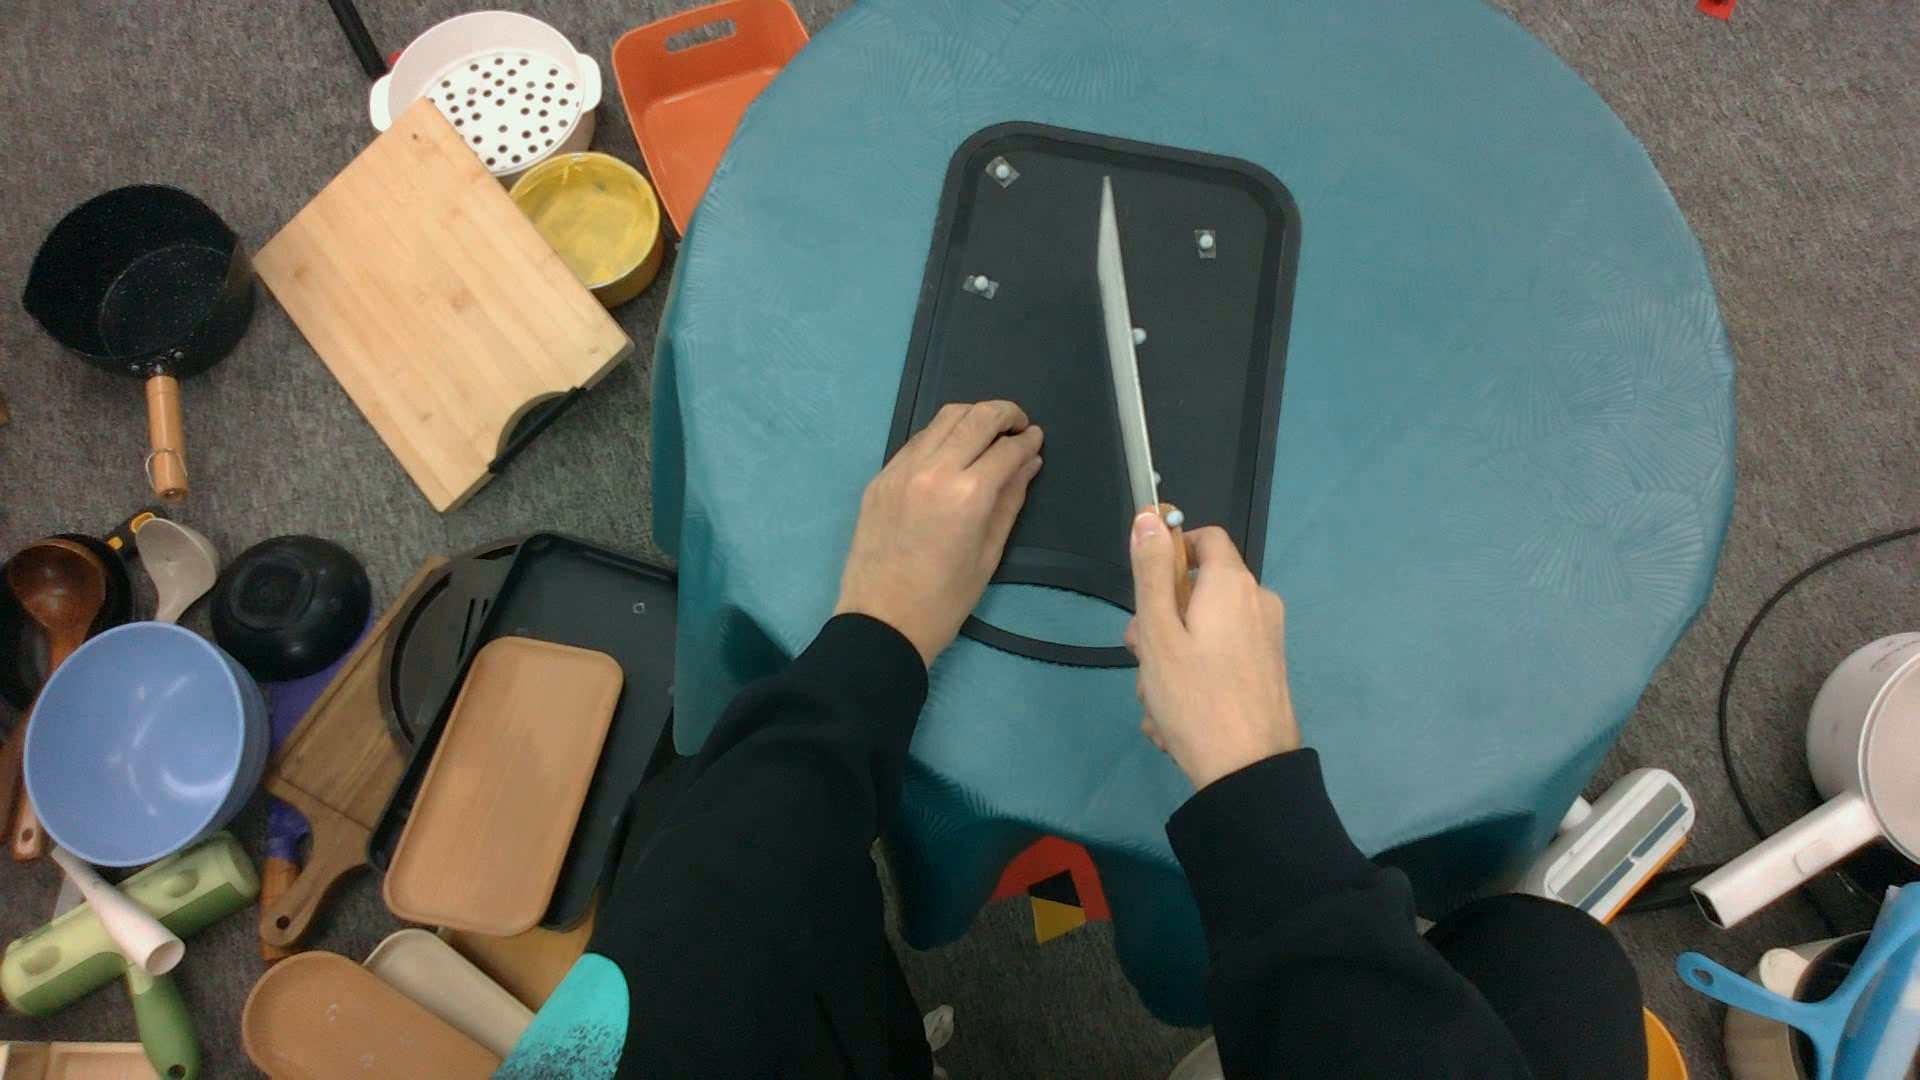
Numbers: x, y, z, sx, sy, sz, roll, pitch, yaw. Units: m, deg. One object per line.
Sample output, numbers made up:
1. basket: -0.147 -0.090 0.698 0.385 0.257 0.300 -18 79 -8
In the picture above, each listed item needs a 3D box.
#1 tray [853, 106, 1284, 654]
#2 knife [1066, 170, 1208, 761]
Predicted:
1. tray: 0.065 -0.096 0.759 0.211 0.010 0.326 11 70 1
2. knife: 0.080 -0.036 0.680 0.021 0.092 0.306 -9 68 1
